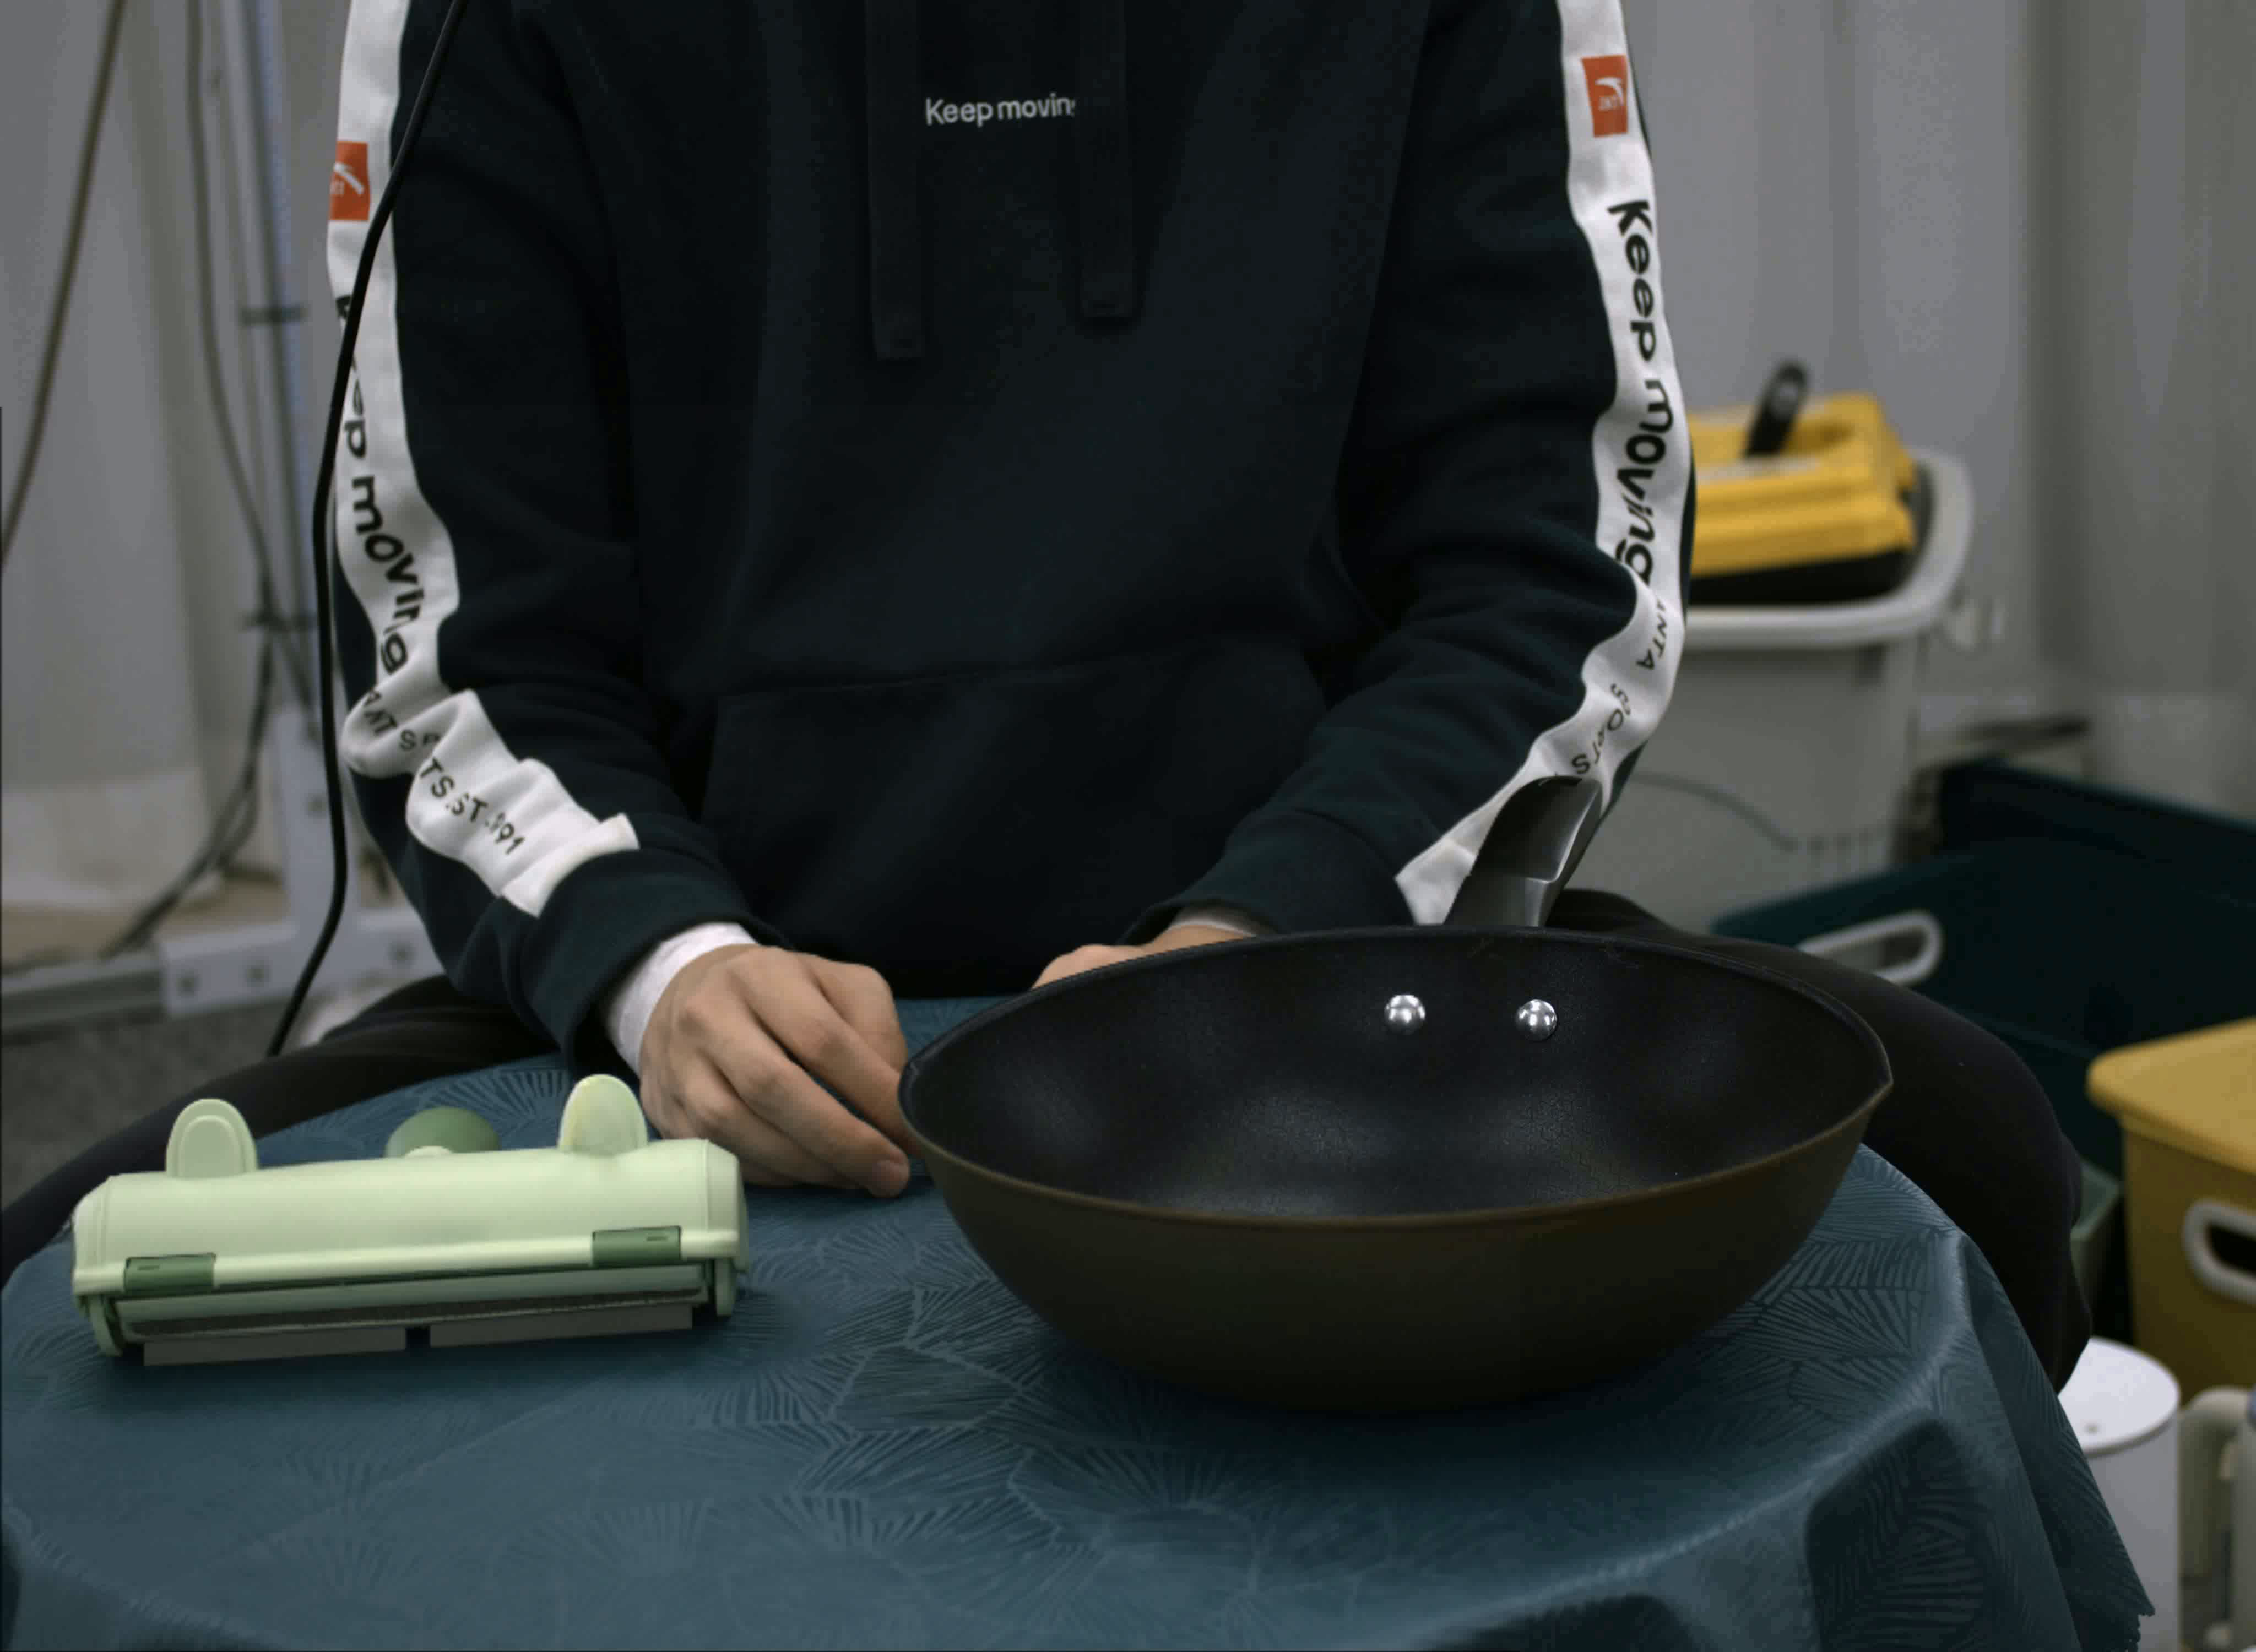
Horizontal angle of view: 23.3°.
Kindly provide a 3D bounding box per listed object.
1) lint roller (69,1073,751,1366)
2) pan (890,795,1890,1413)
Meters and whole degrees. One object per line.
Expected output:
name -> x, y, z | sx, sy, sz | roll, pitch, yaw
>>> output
lint roller -> -0.214, 0.100, 1.668 | 0.198, 0.081, 0.185 | -4, 20, -1
pan -> 0.095, 0.082, 1.659 | 0.288, 0.086, 0.465 | 1, 14, 13
